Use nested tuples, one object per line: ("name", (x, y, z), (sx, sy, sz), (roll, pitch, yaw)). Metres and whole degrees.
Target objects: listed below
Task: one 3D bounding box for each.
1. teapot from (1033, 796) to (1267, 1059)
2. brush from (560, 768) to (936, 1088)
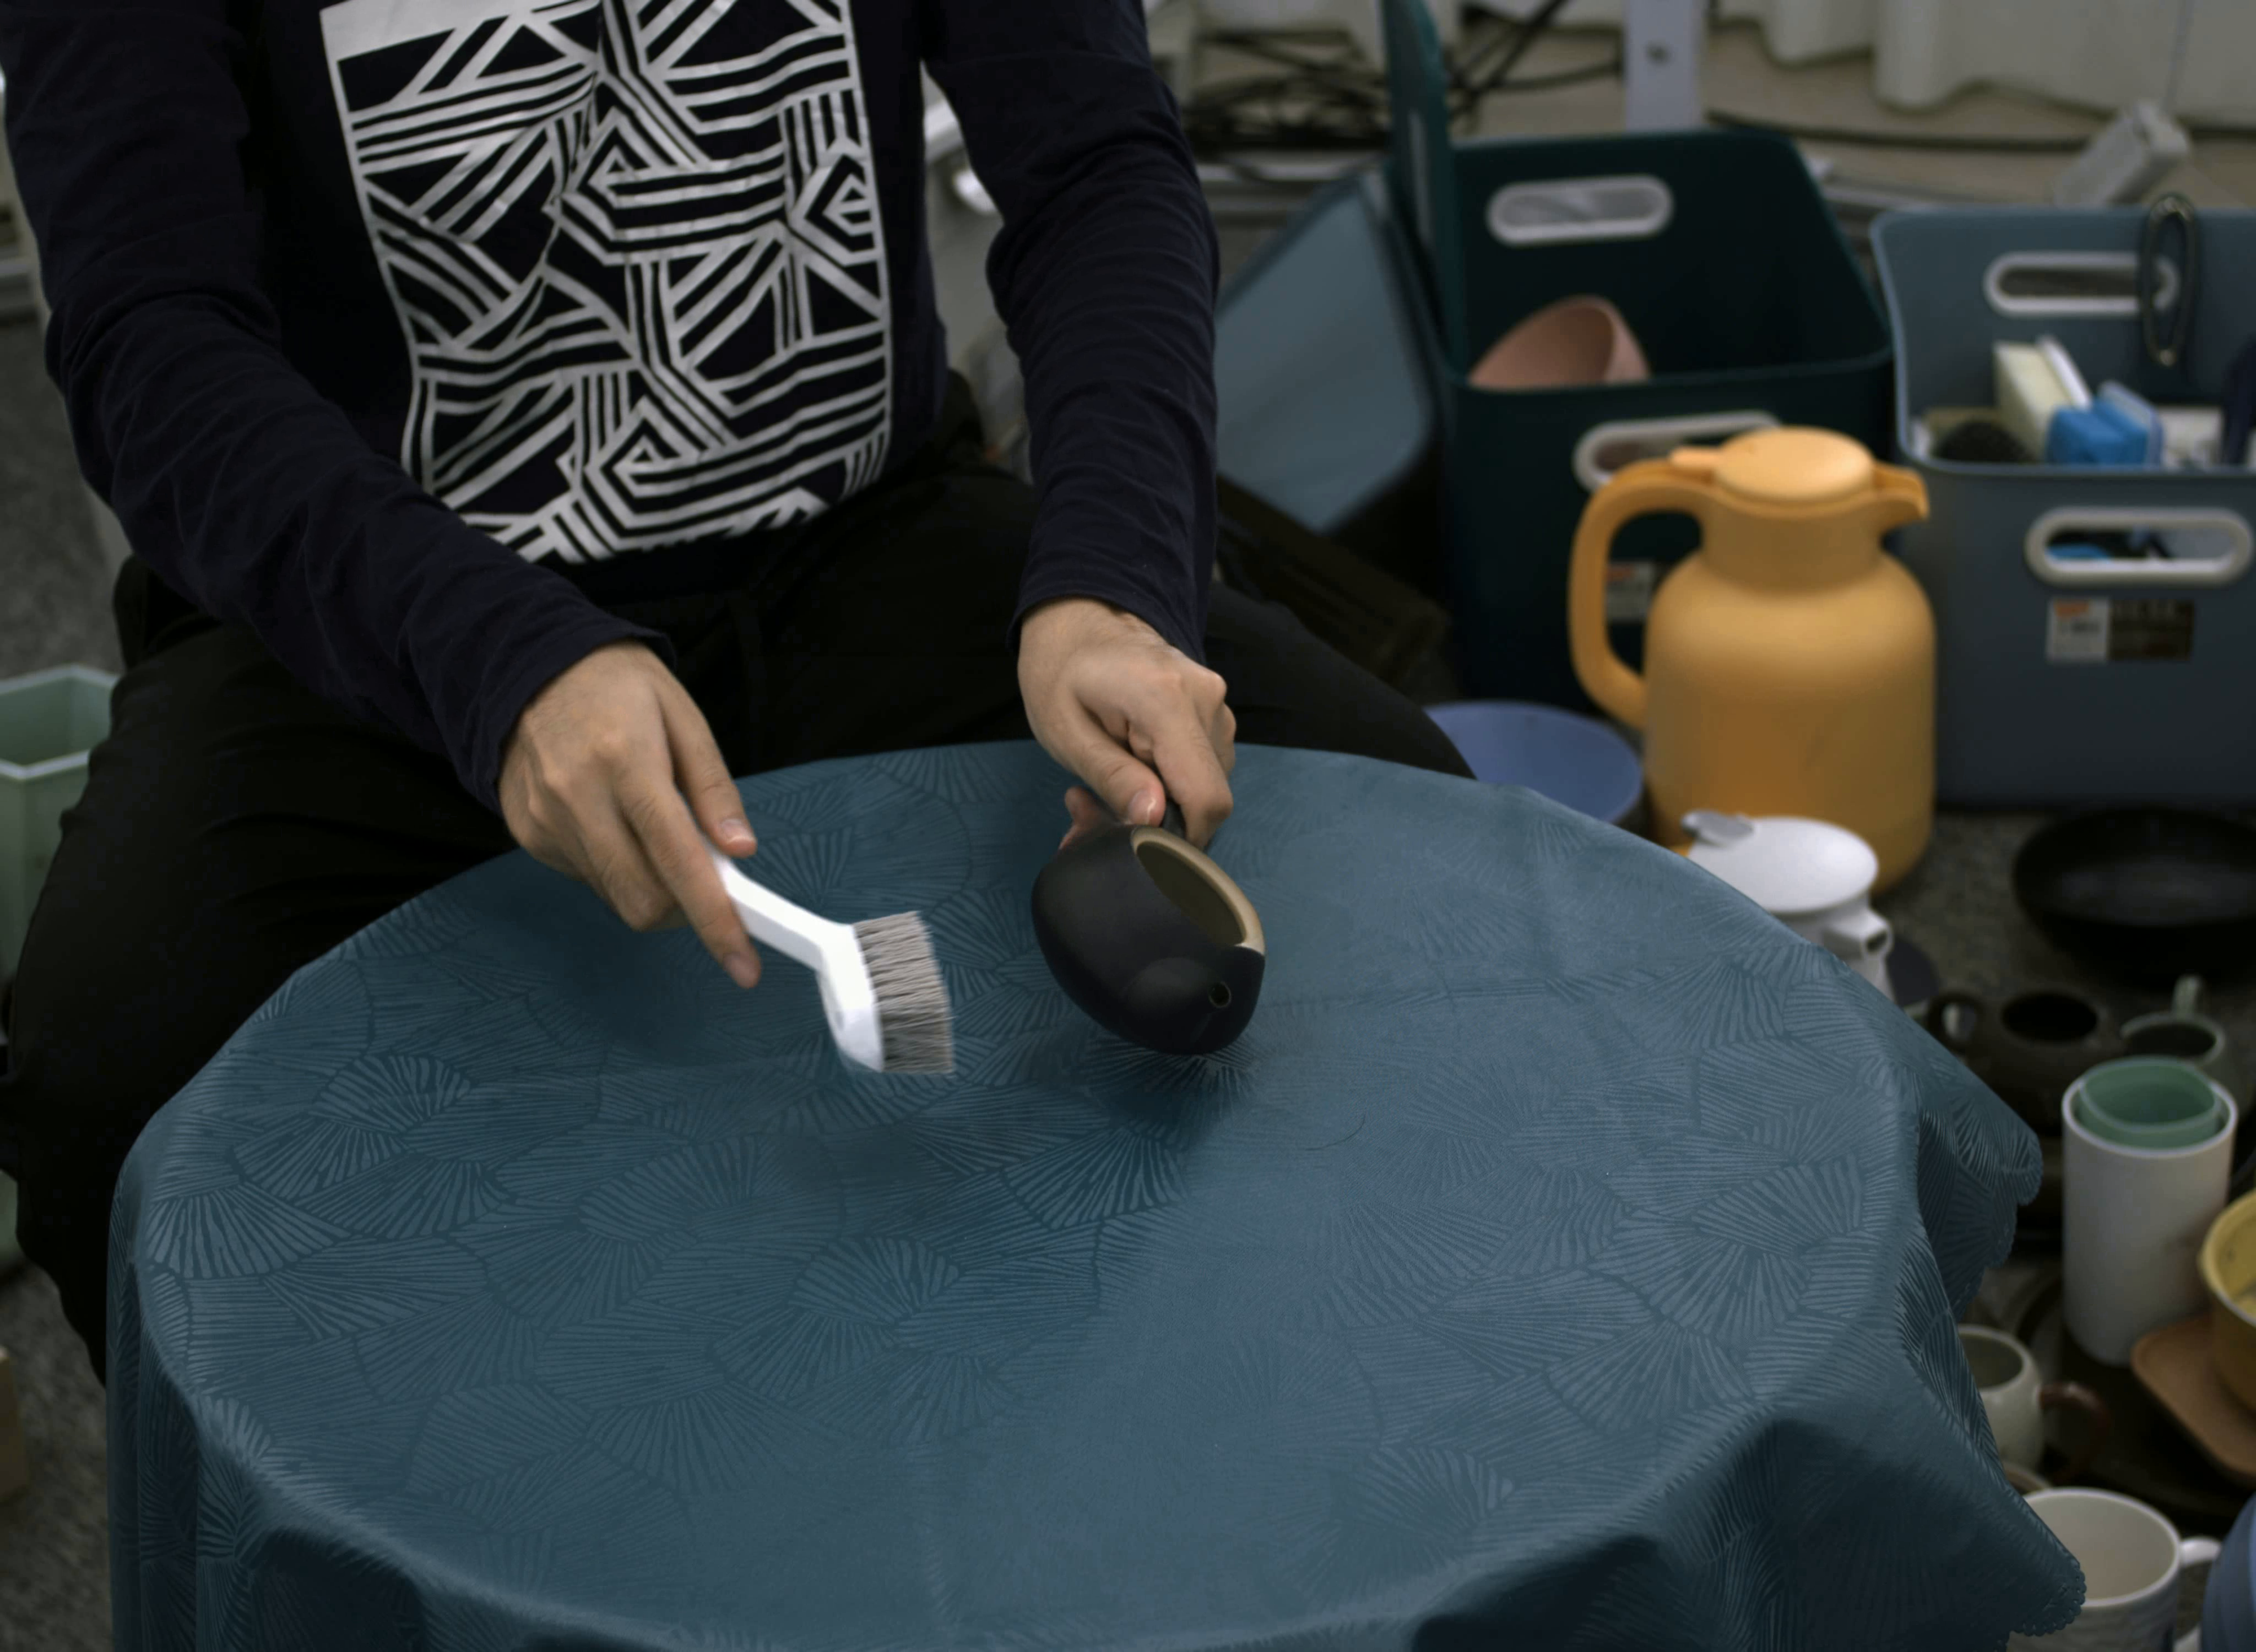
("teapot", (0.008, 0.039, 1.924), (0.090, 0.052, 0.135), (33, 23, -27))
("brush", (-0.129, 0.026, 1.931), (0.050, 0.034, 0.245), (-21, 31, -21))
